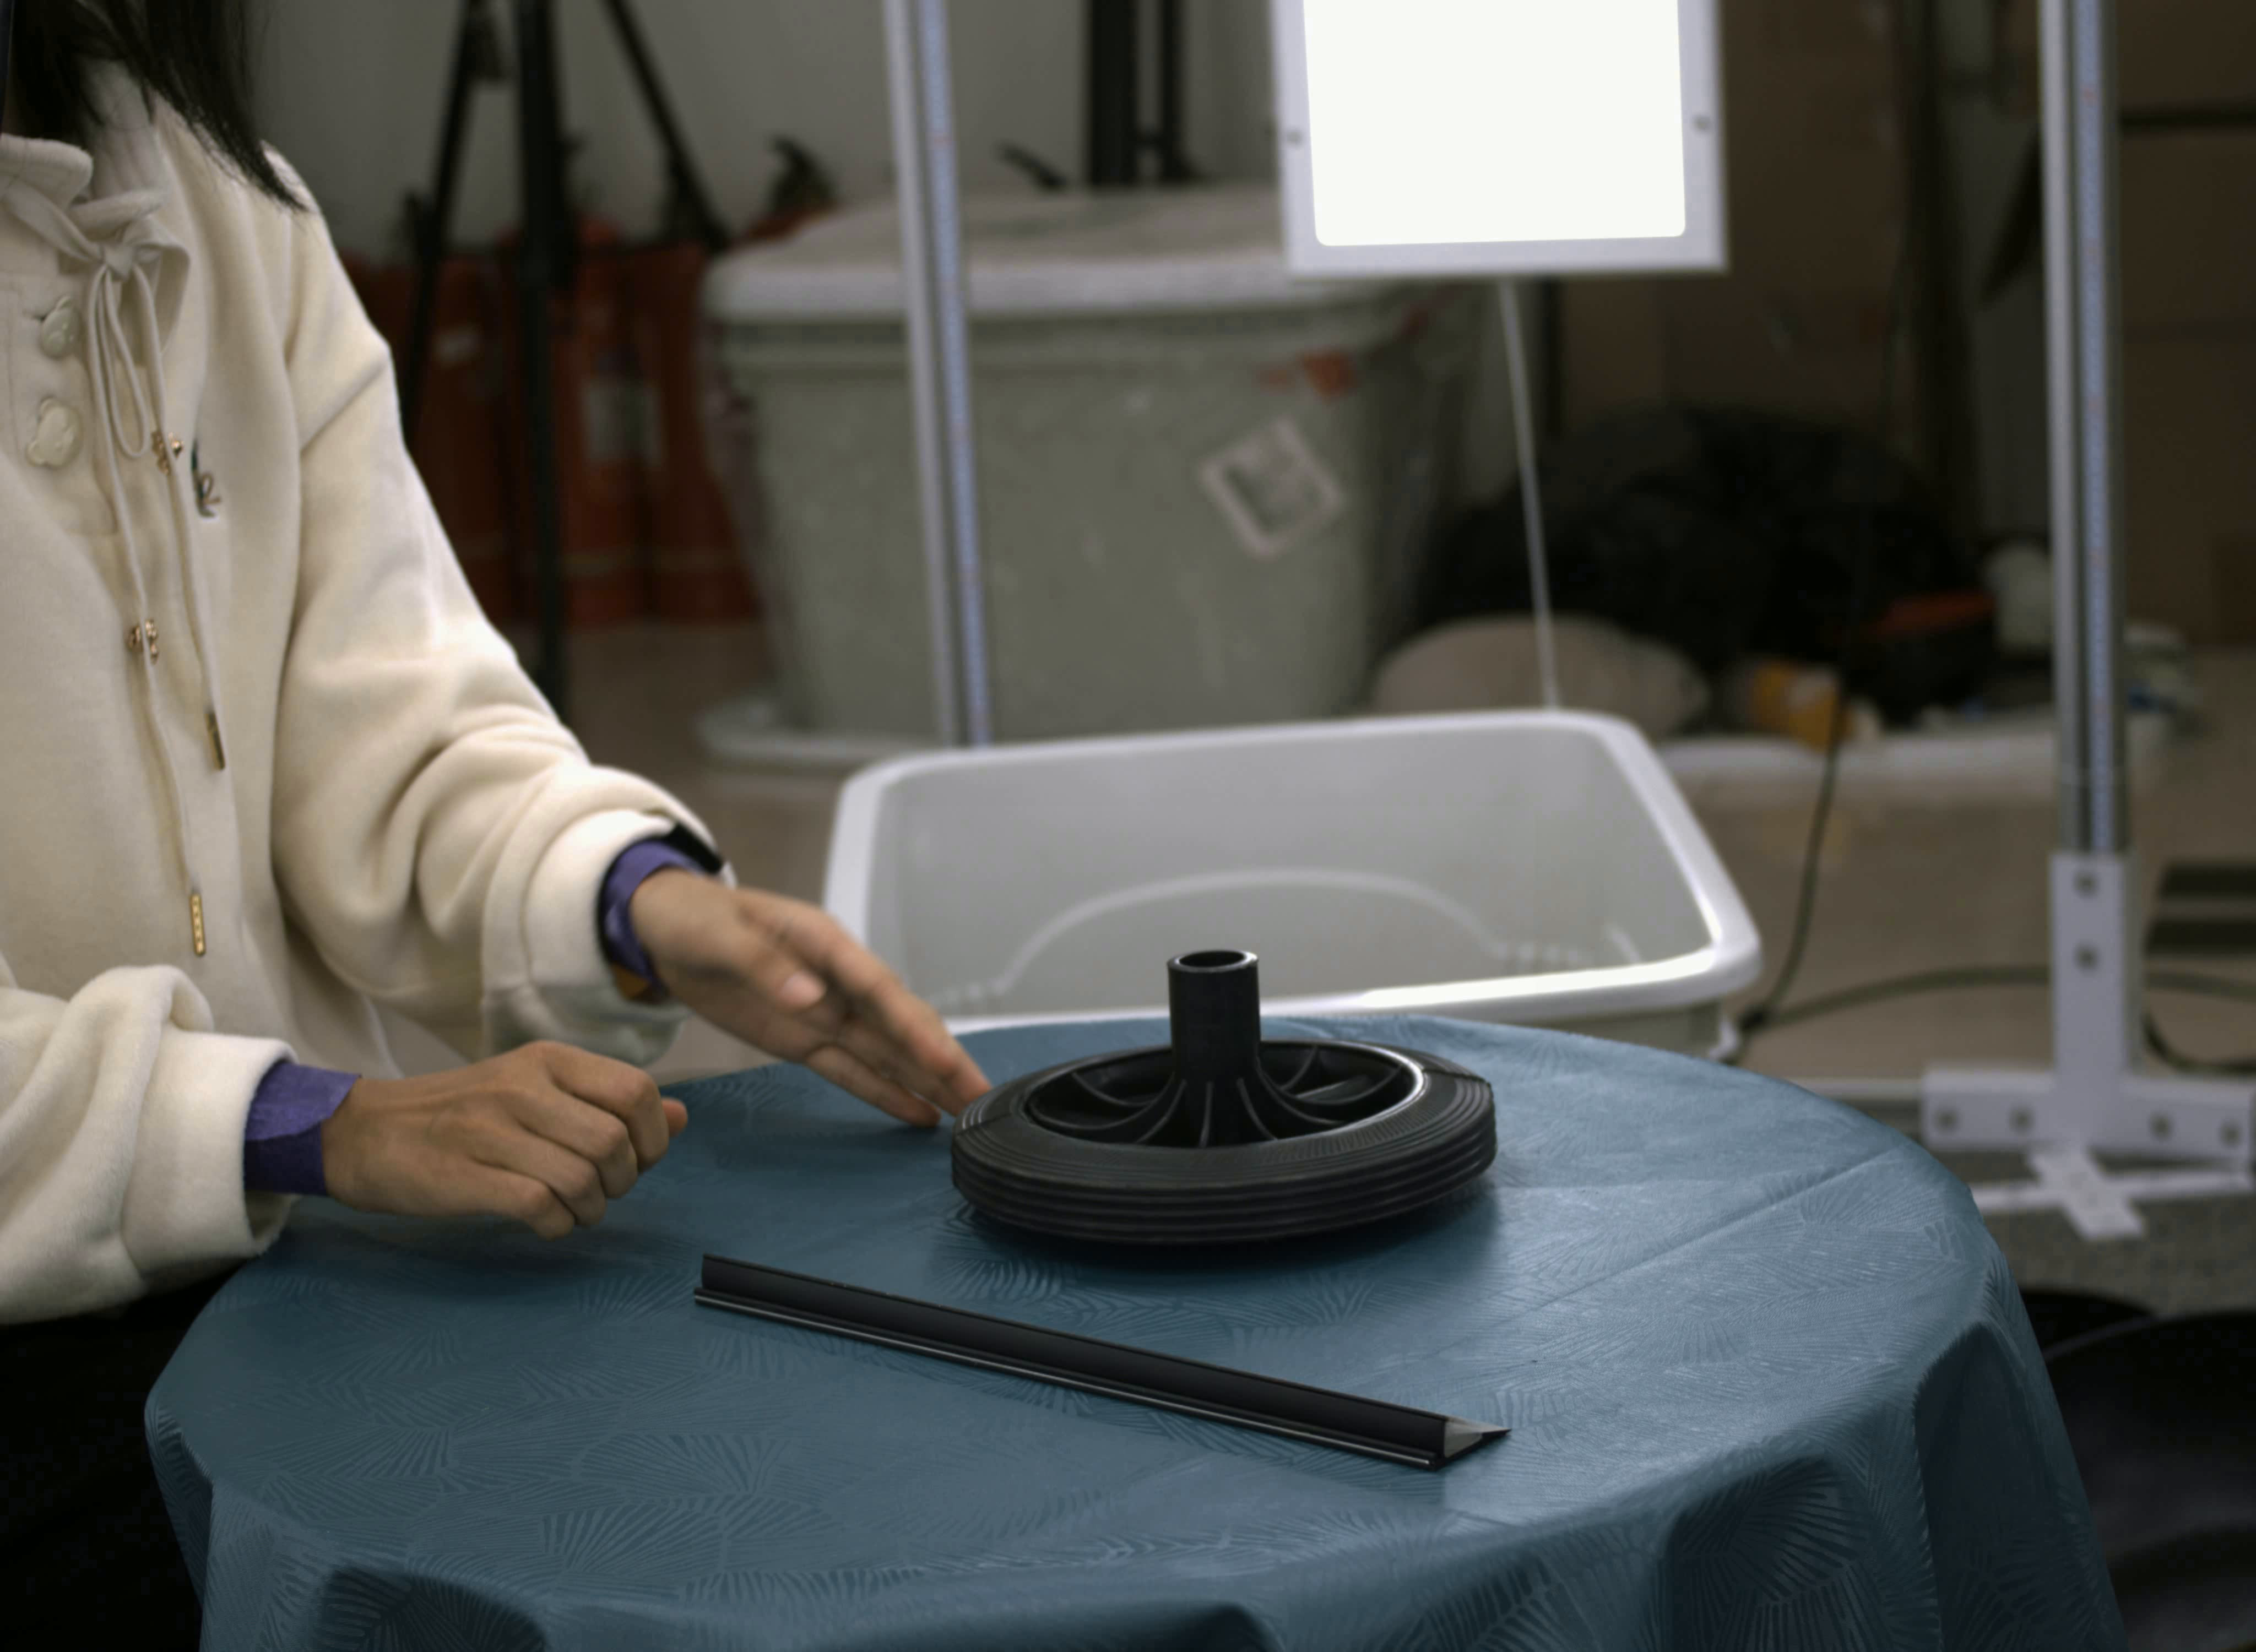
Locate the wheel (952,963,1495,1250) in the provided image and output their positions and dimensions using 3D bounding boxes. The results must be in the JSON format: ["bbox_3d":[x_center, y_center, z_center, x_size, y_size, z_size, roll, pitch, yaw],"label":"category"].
[{"bbox_3d":[0.032,0.088,1.882,0.191,0.079,0.185,3,14,30],"label":"wheel"}]

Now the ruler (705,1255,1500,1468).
[{"bbox_3d":[-0.014,0.162,1.726,0.319,0.017,0.038,8,15,43],"label":"ruler"}]
